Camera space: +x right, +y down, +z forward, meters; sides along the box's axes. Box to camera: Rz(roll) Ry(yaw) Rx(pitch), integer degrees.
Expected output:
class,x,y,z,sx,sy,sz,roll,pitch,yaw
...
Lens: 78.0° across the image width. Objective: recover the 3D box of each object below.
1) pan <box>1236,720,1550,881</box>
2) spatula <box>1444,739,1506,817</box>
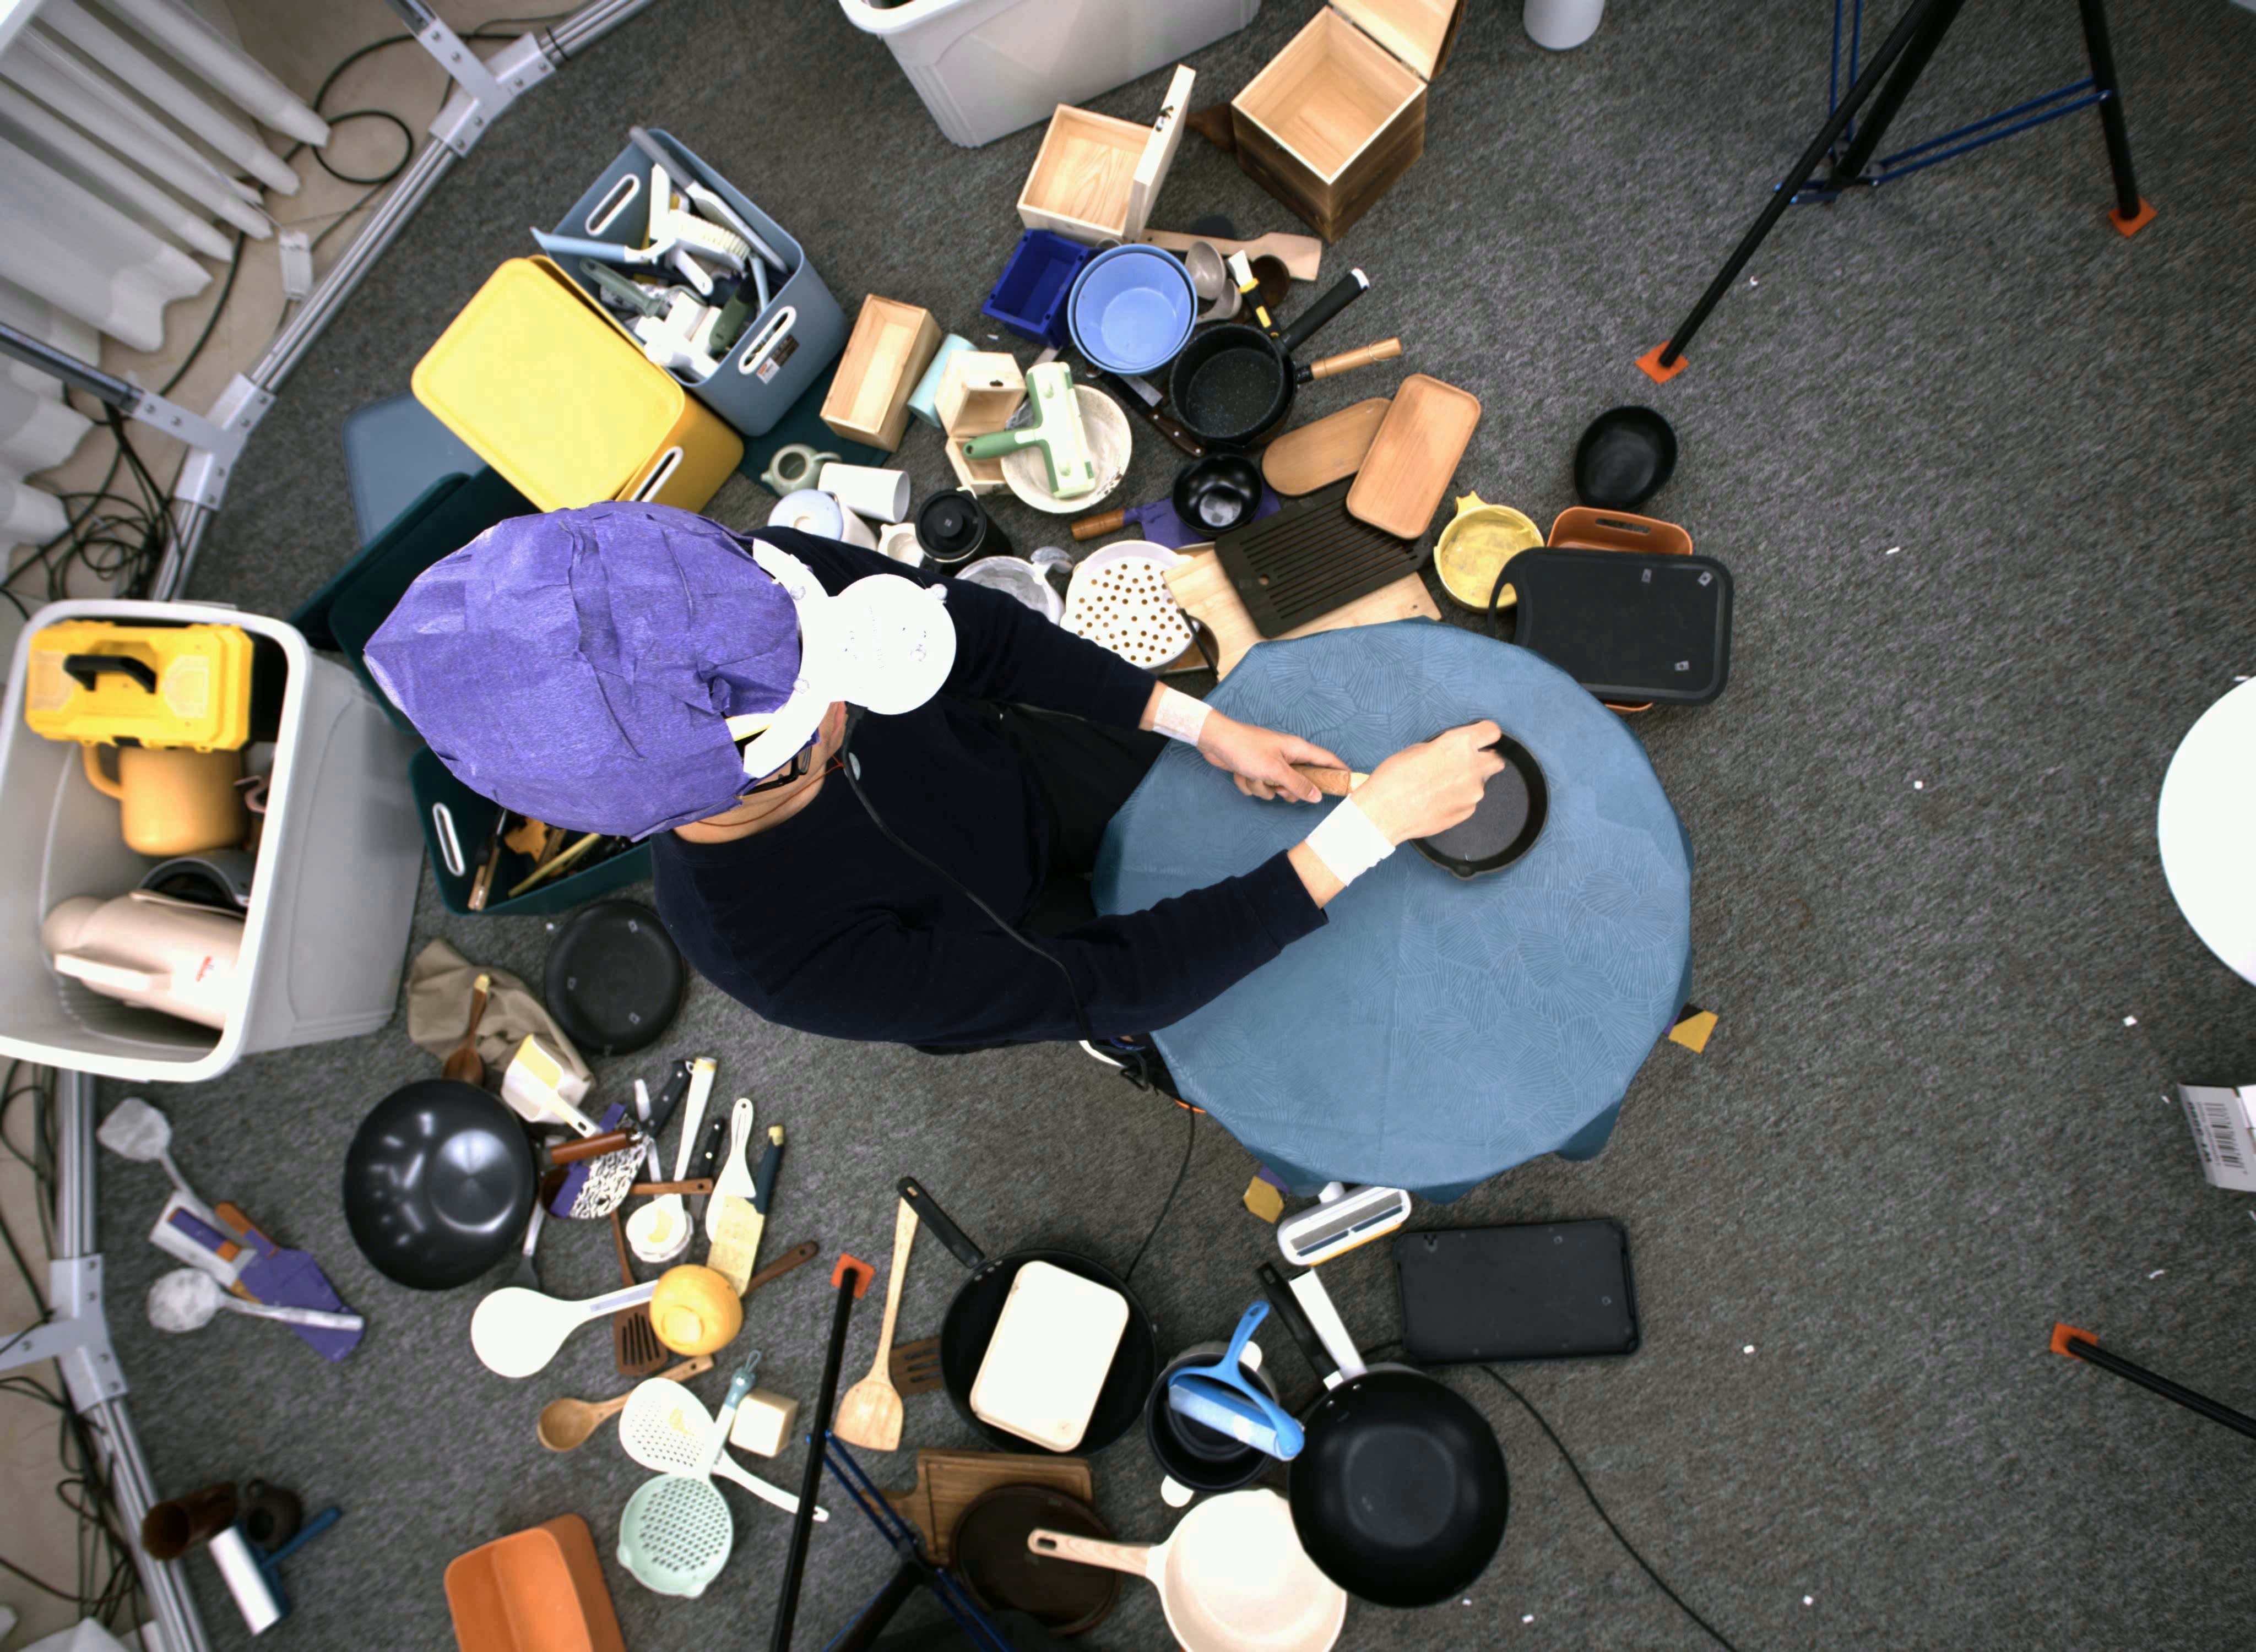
class,x,y,z,sx,sy,sz,roll,pitch,yaw
pan,0.274,-0.041,1.436,0.325,0.049,0.168,9,88,8
spatula,0.321,-0.053,1.294,0.016,0.327,0.080,42,99,18
